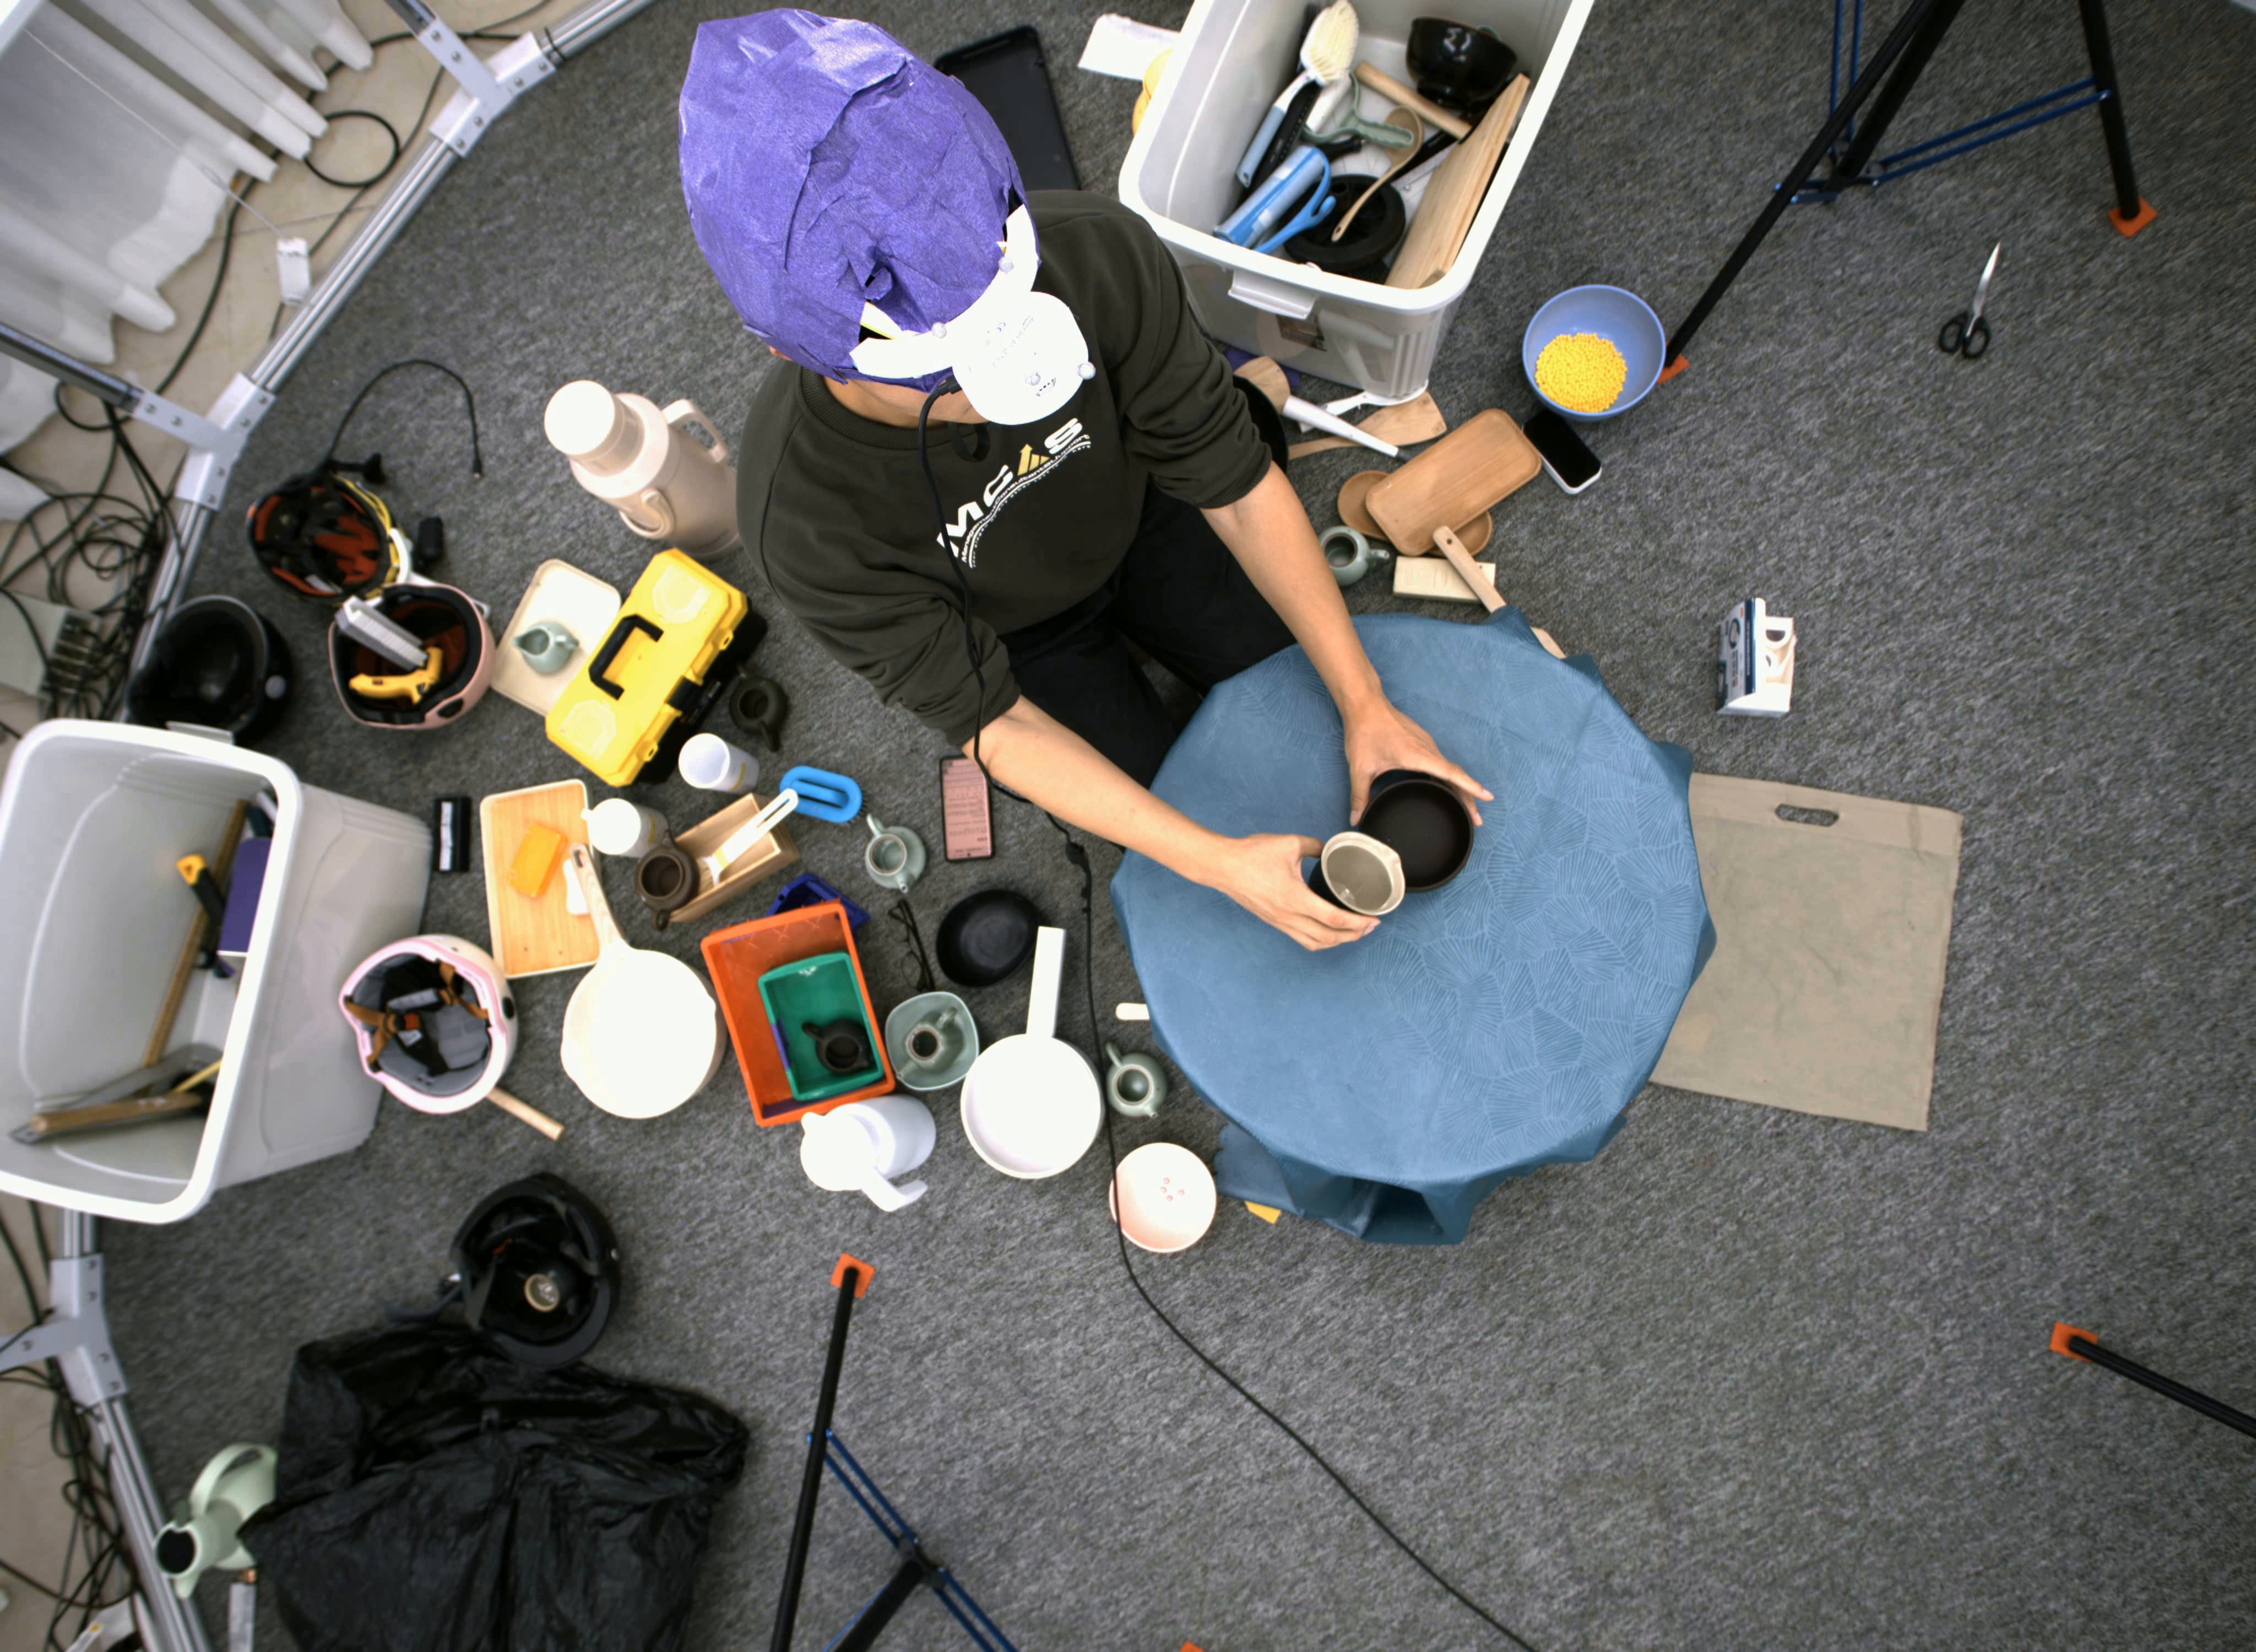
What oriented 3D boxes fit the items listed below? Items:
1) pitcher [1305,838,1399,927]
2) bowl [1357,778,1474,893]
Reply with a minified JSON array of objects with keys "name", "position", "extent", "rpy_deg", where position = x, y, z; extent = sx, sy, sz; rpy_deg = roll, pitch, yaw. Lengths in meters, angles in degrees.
[{"name":"pitcher","position":[0.219,0.058,1.376],"extent":[0.095,0.073,0.082],"rpy_deg":[-19,67,-32]},{"name":"bowl","position":[0.295,0.009,1.422],"extent":[0.118,0.070,0.118],"rpy_deg":[0,88,10]}]
